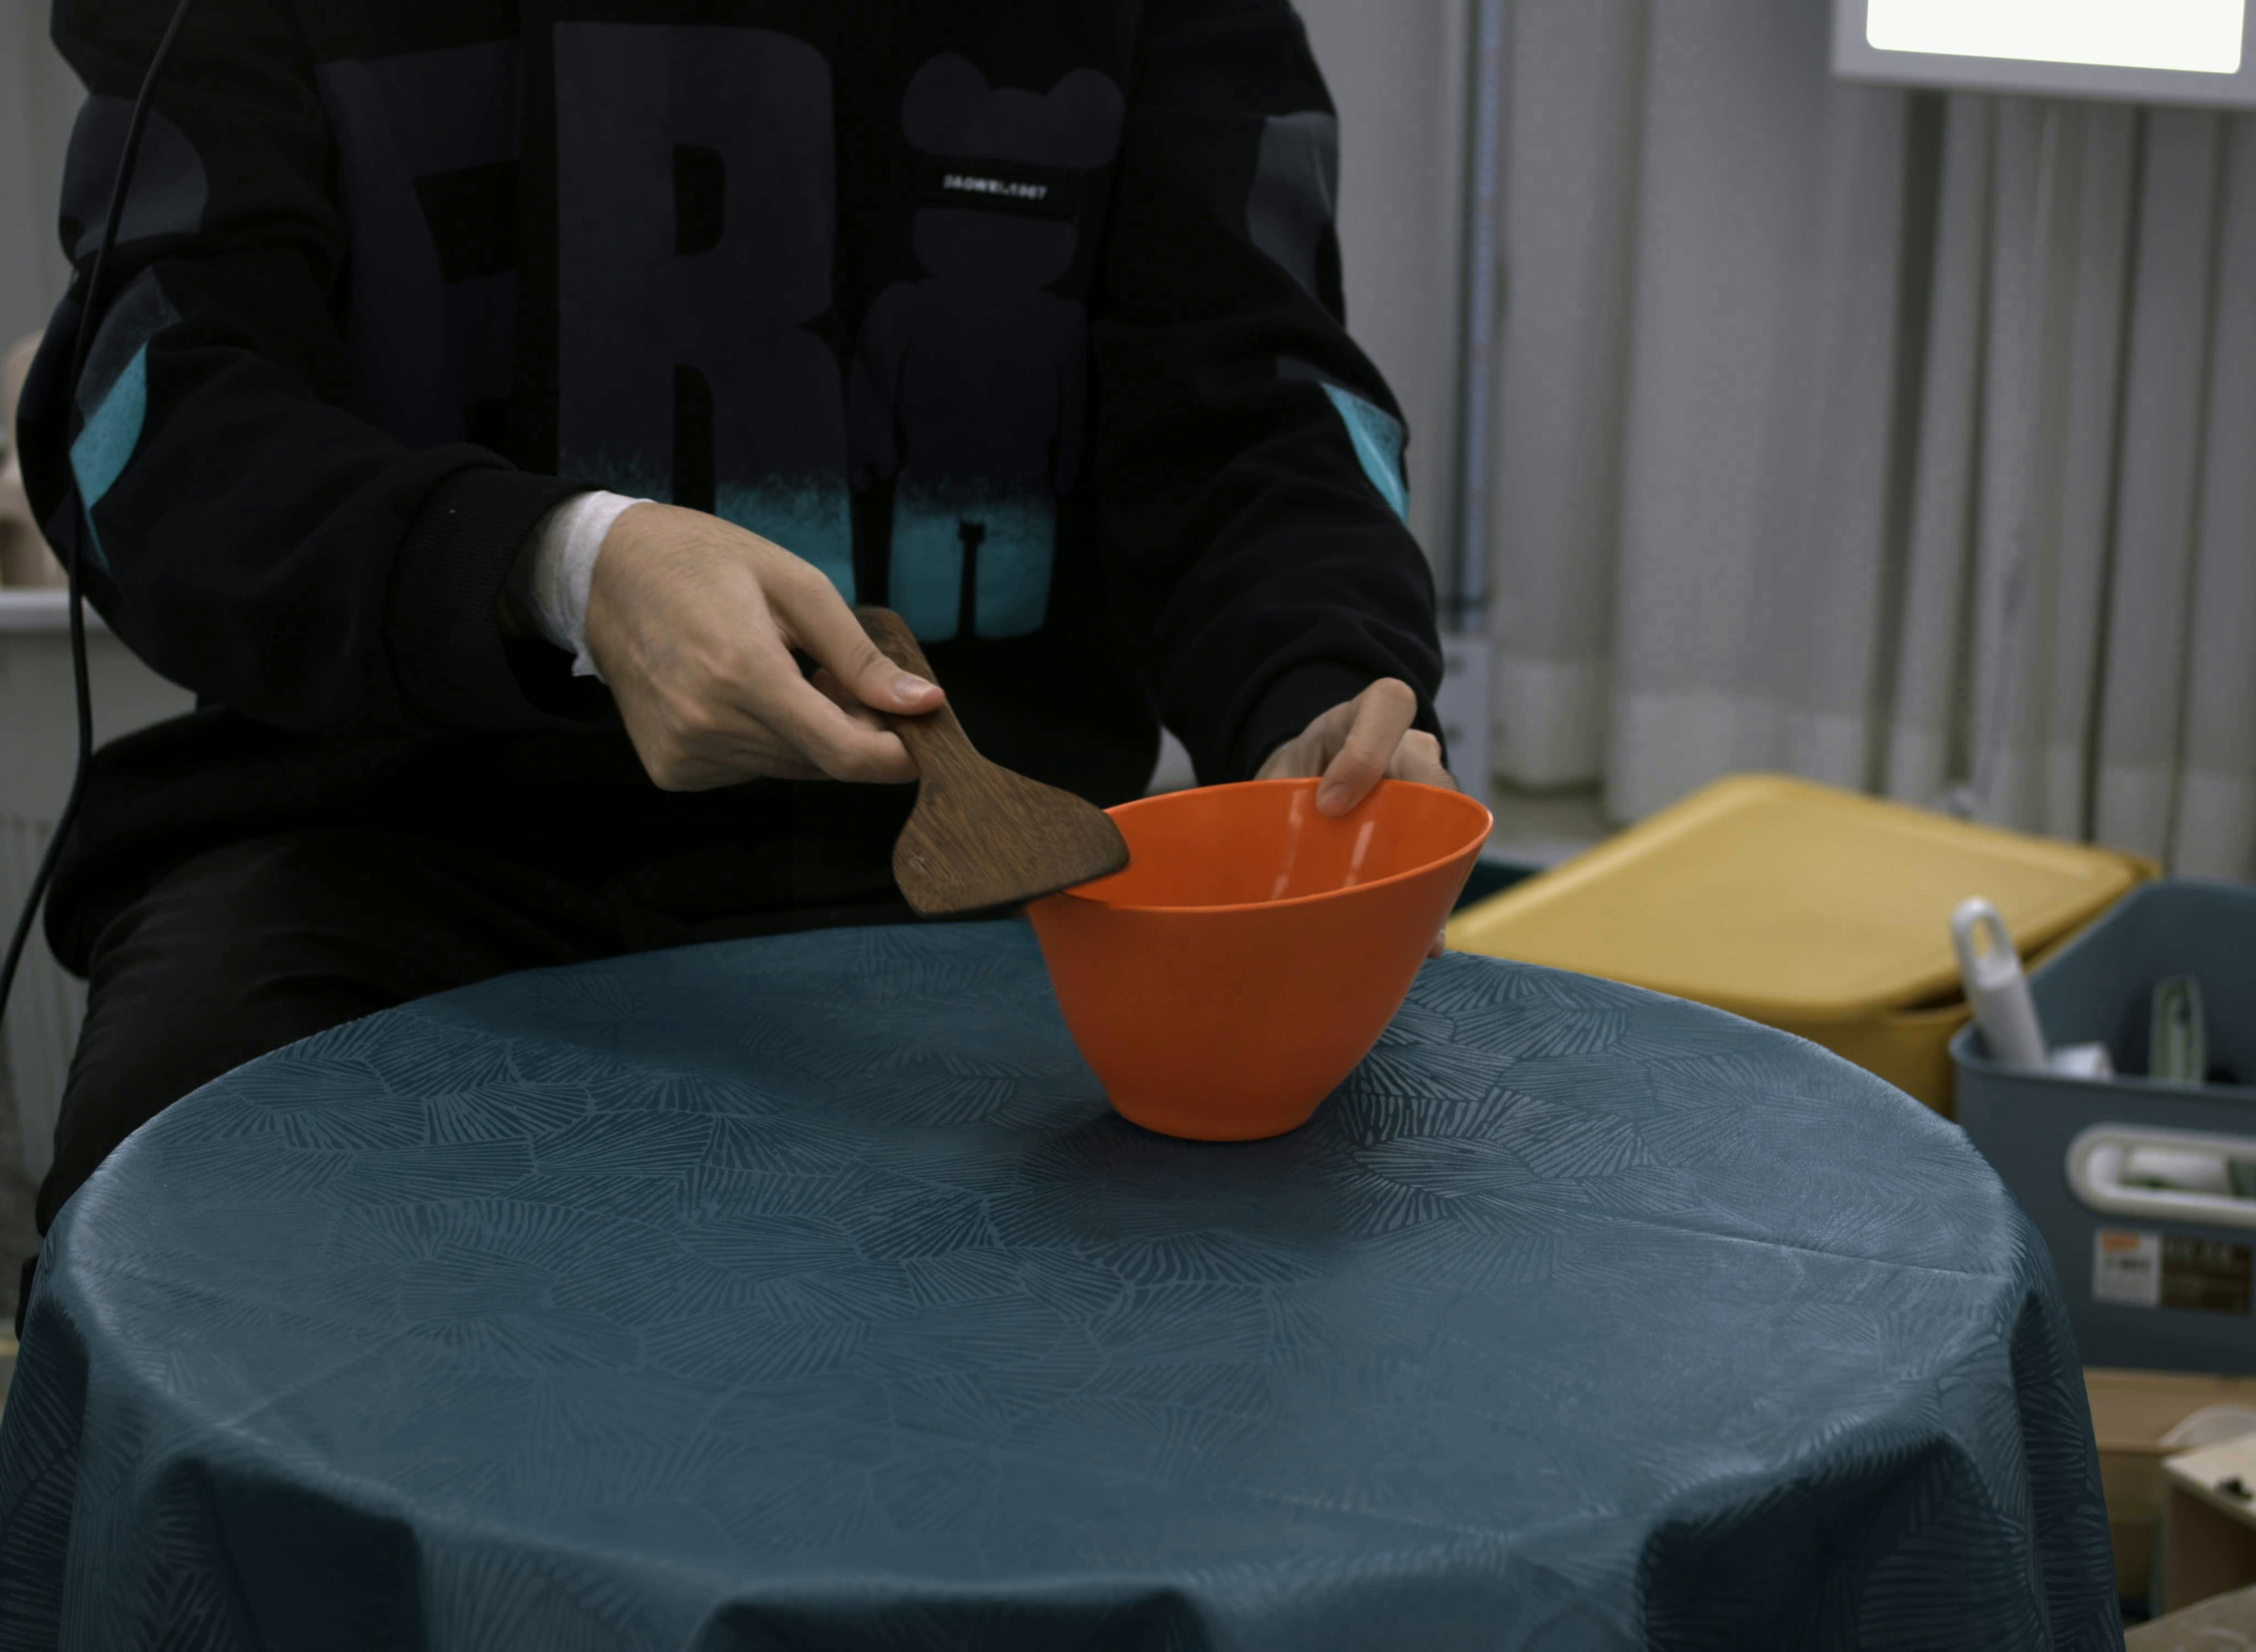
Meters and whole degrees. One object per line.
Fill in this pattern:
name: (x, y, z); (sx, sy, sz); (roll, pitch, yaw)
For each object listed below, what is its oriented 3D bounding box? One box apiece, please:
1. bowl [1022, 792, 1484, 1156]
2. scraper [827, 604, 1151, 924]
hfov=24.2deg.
bowl: (0.037, 0.047, 1.673); (0.147, 0.105, 0.147); (1, 18, 0)
scraper: (-0.057, -0.023, 1.680); (0.076, 0.011, 0.208); (-14, 32, -13)
